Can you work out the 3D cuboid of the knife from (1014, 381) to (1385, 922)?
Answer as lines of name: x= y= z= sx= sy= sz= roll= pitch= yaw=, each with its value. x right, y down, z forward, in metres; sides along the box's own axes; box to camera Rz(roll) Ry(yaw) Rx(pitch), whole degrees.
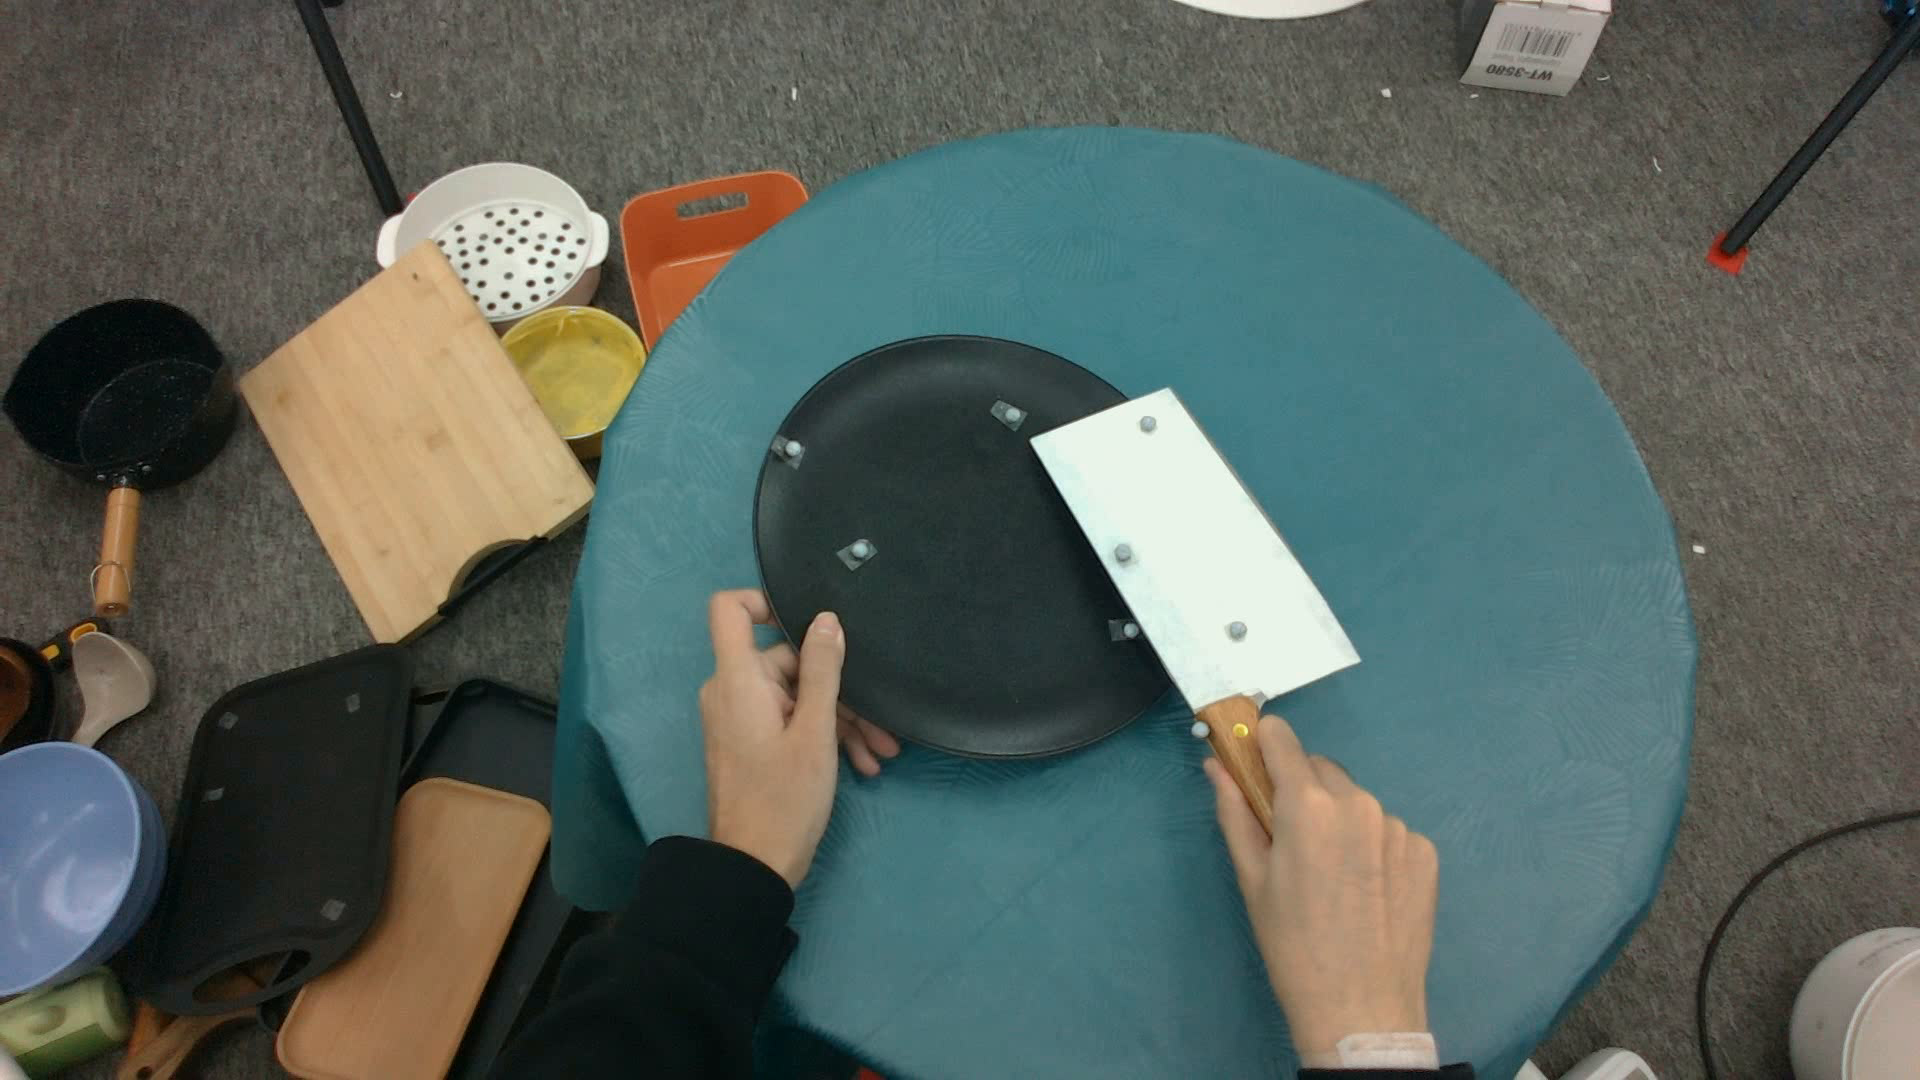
knife: x=0.132 y=0.036 z=0.683 sx=0.093 sy=0.021 sz=0.306 roll=-22 pitch=60 yaw=-13

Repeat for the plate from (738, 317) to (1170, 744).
plate: x=0.006 y=-0.009 z=0.715 sx=0.244 sy=0.023 sz=0.245 roll=6 pitch=63 yaw=-11
